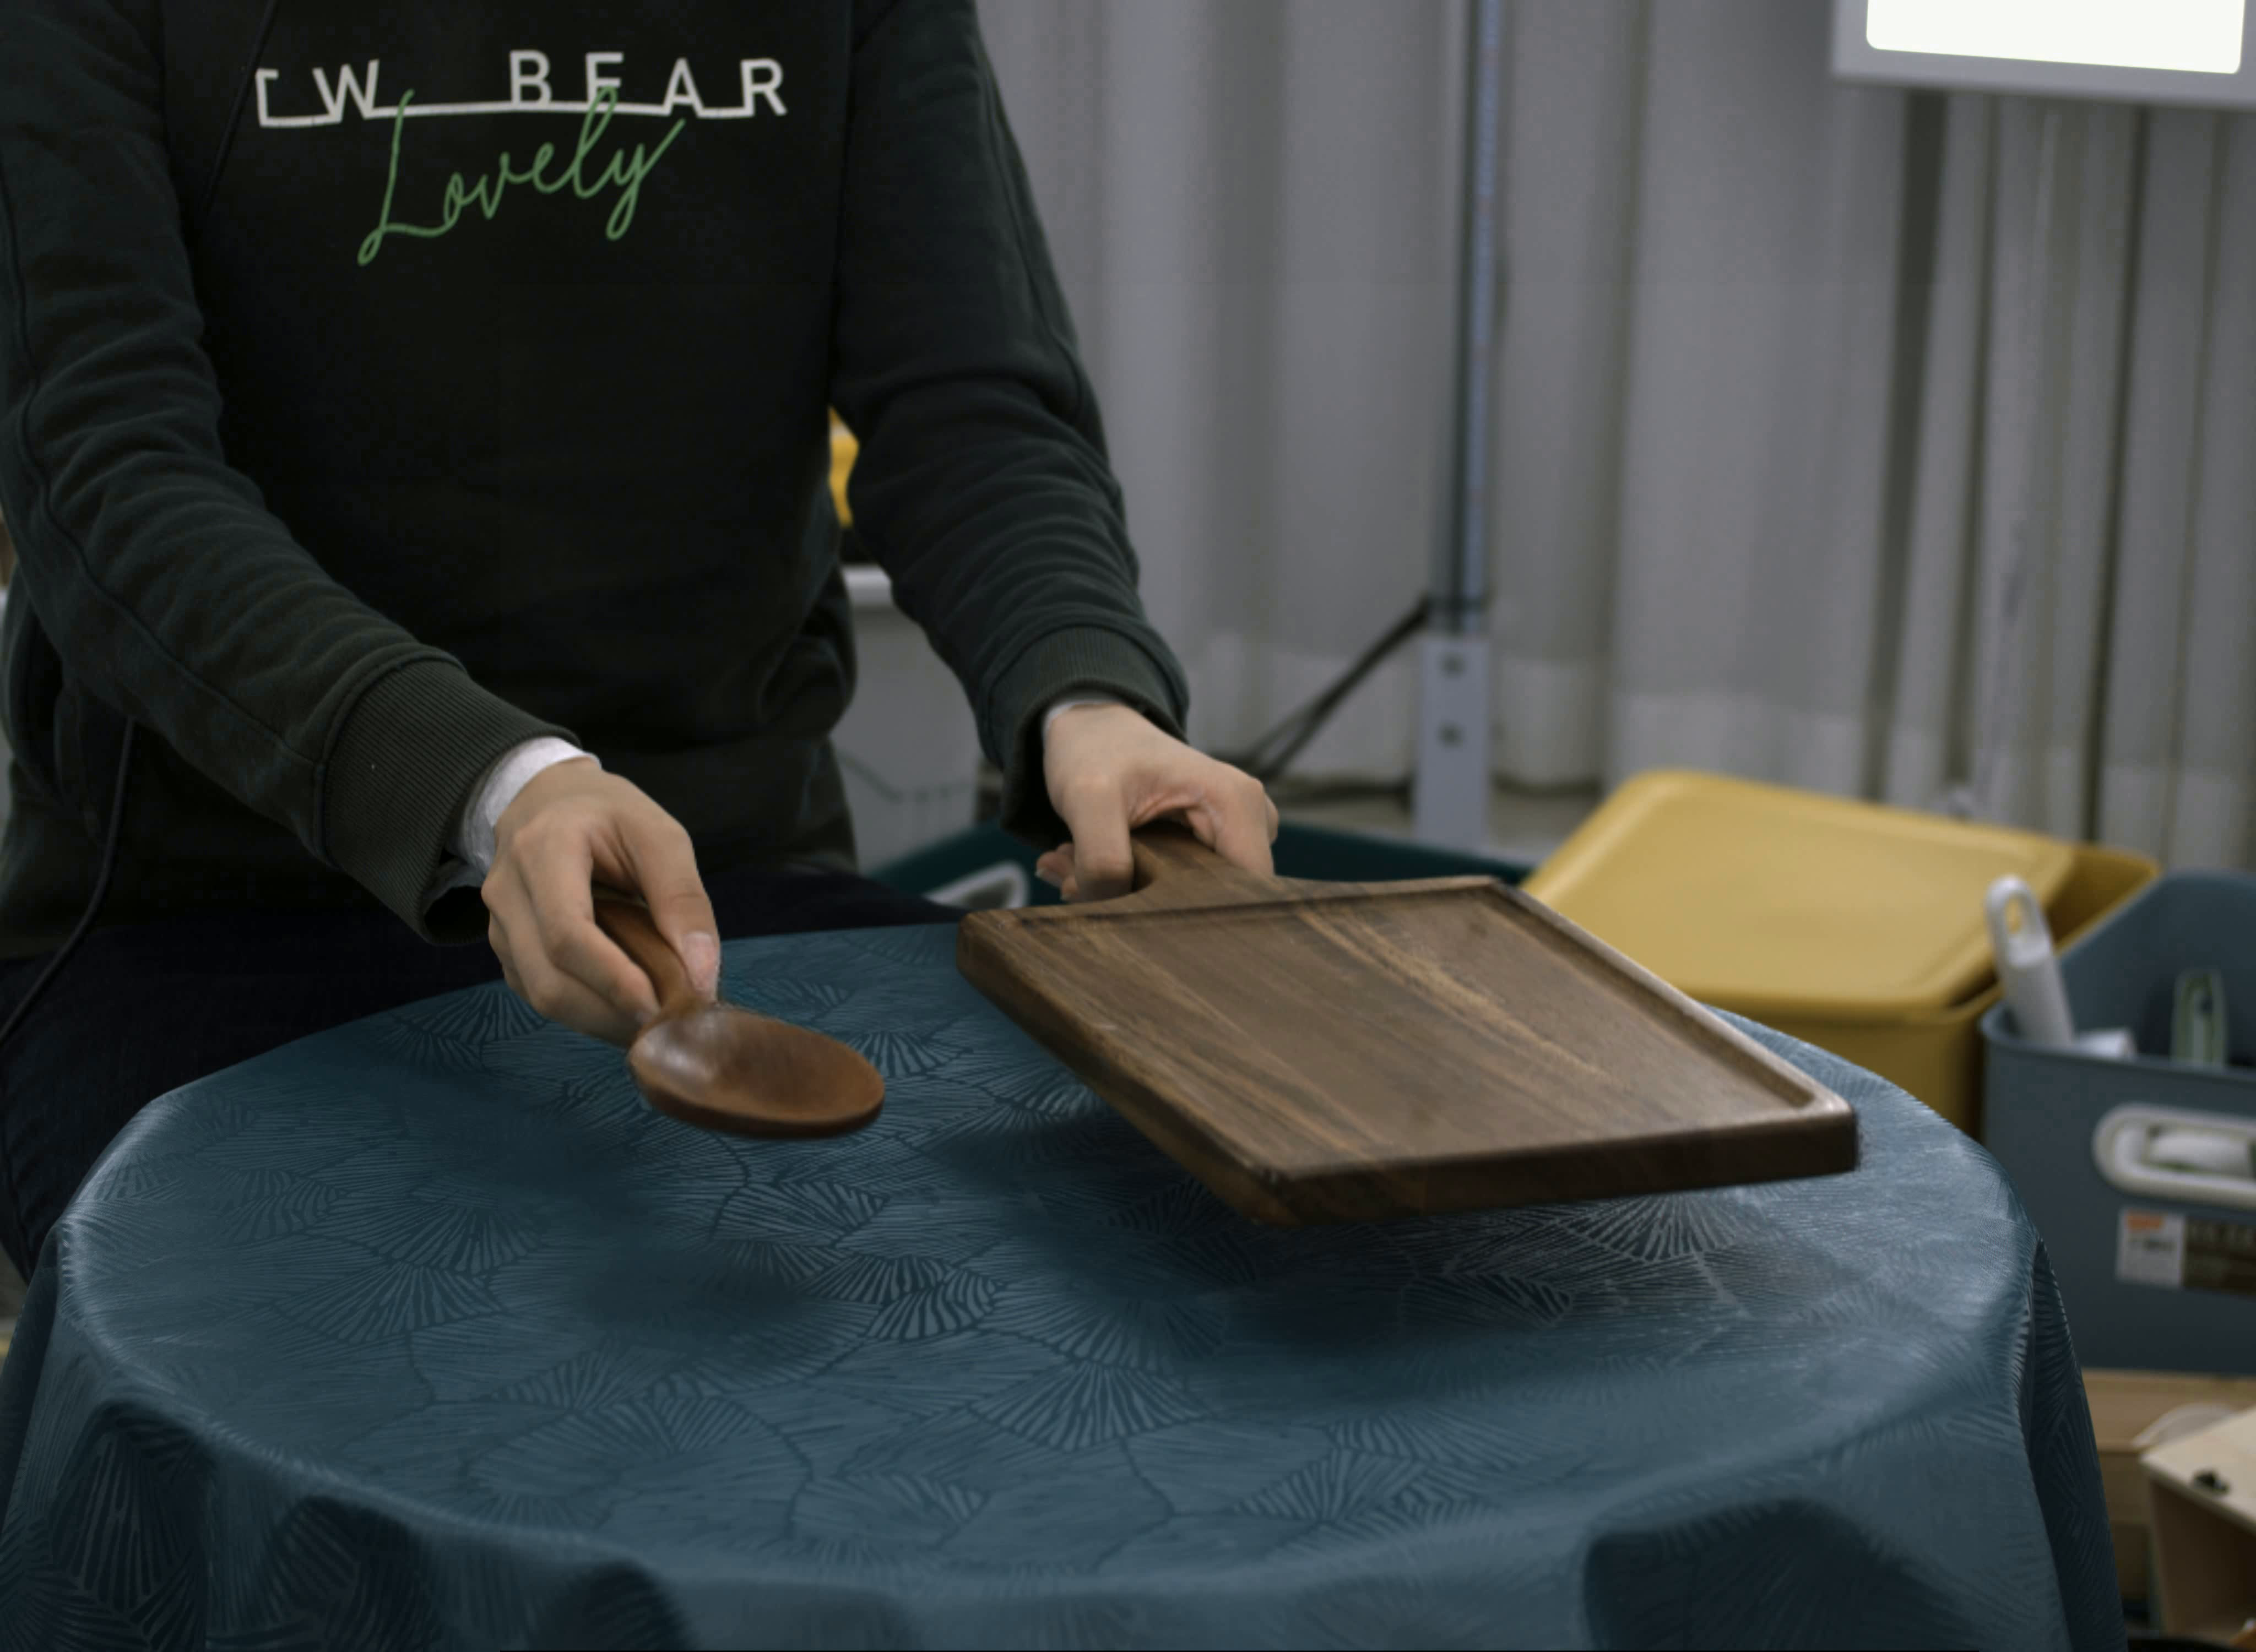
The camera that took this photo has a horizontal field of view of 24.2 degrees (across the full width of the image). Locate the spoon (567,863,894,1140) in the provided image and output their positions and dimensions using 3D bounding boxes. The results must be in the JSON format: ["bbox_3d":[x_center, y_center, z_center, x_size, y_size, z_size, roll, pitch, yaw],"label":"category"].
[{"bbox_3d":[-0.130,0.054,1.583,0.076,0.017,0.213,-2,20,-22],"label":"spoon"}]

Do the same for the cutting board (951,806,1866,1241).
[{"bbox_3d":[0.061,0.051,1.651,0.202,0.023,0.348,-5,18,-22],"label":"cutting board"}]
